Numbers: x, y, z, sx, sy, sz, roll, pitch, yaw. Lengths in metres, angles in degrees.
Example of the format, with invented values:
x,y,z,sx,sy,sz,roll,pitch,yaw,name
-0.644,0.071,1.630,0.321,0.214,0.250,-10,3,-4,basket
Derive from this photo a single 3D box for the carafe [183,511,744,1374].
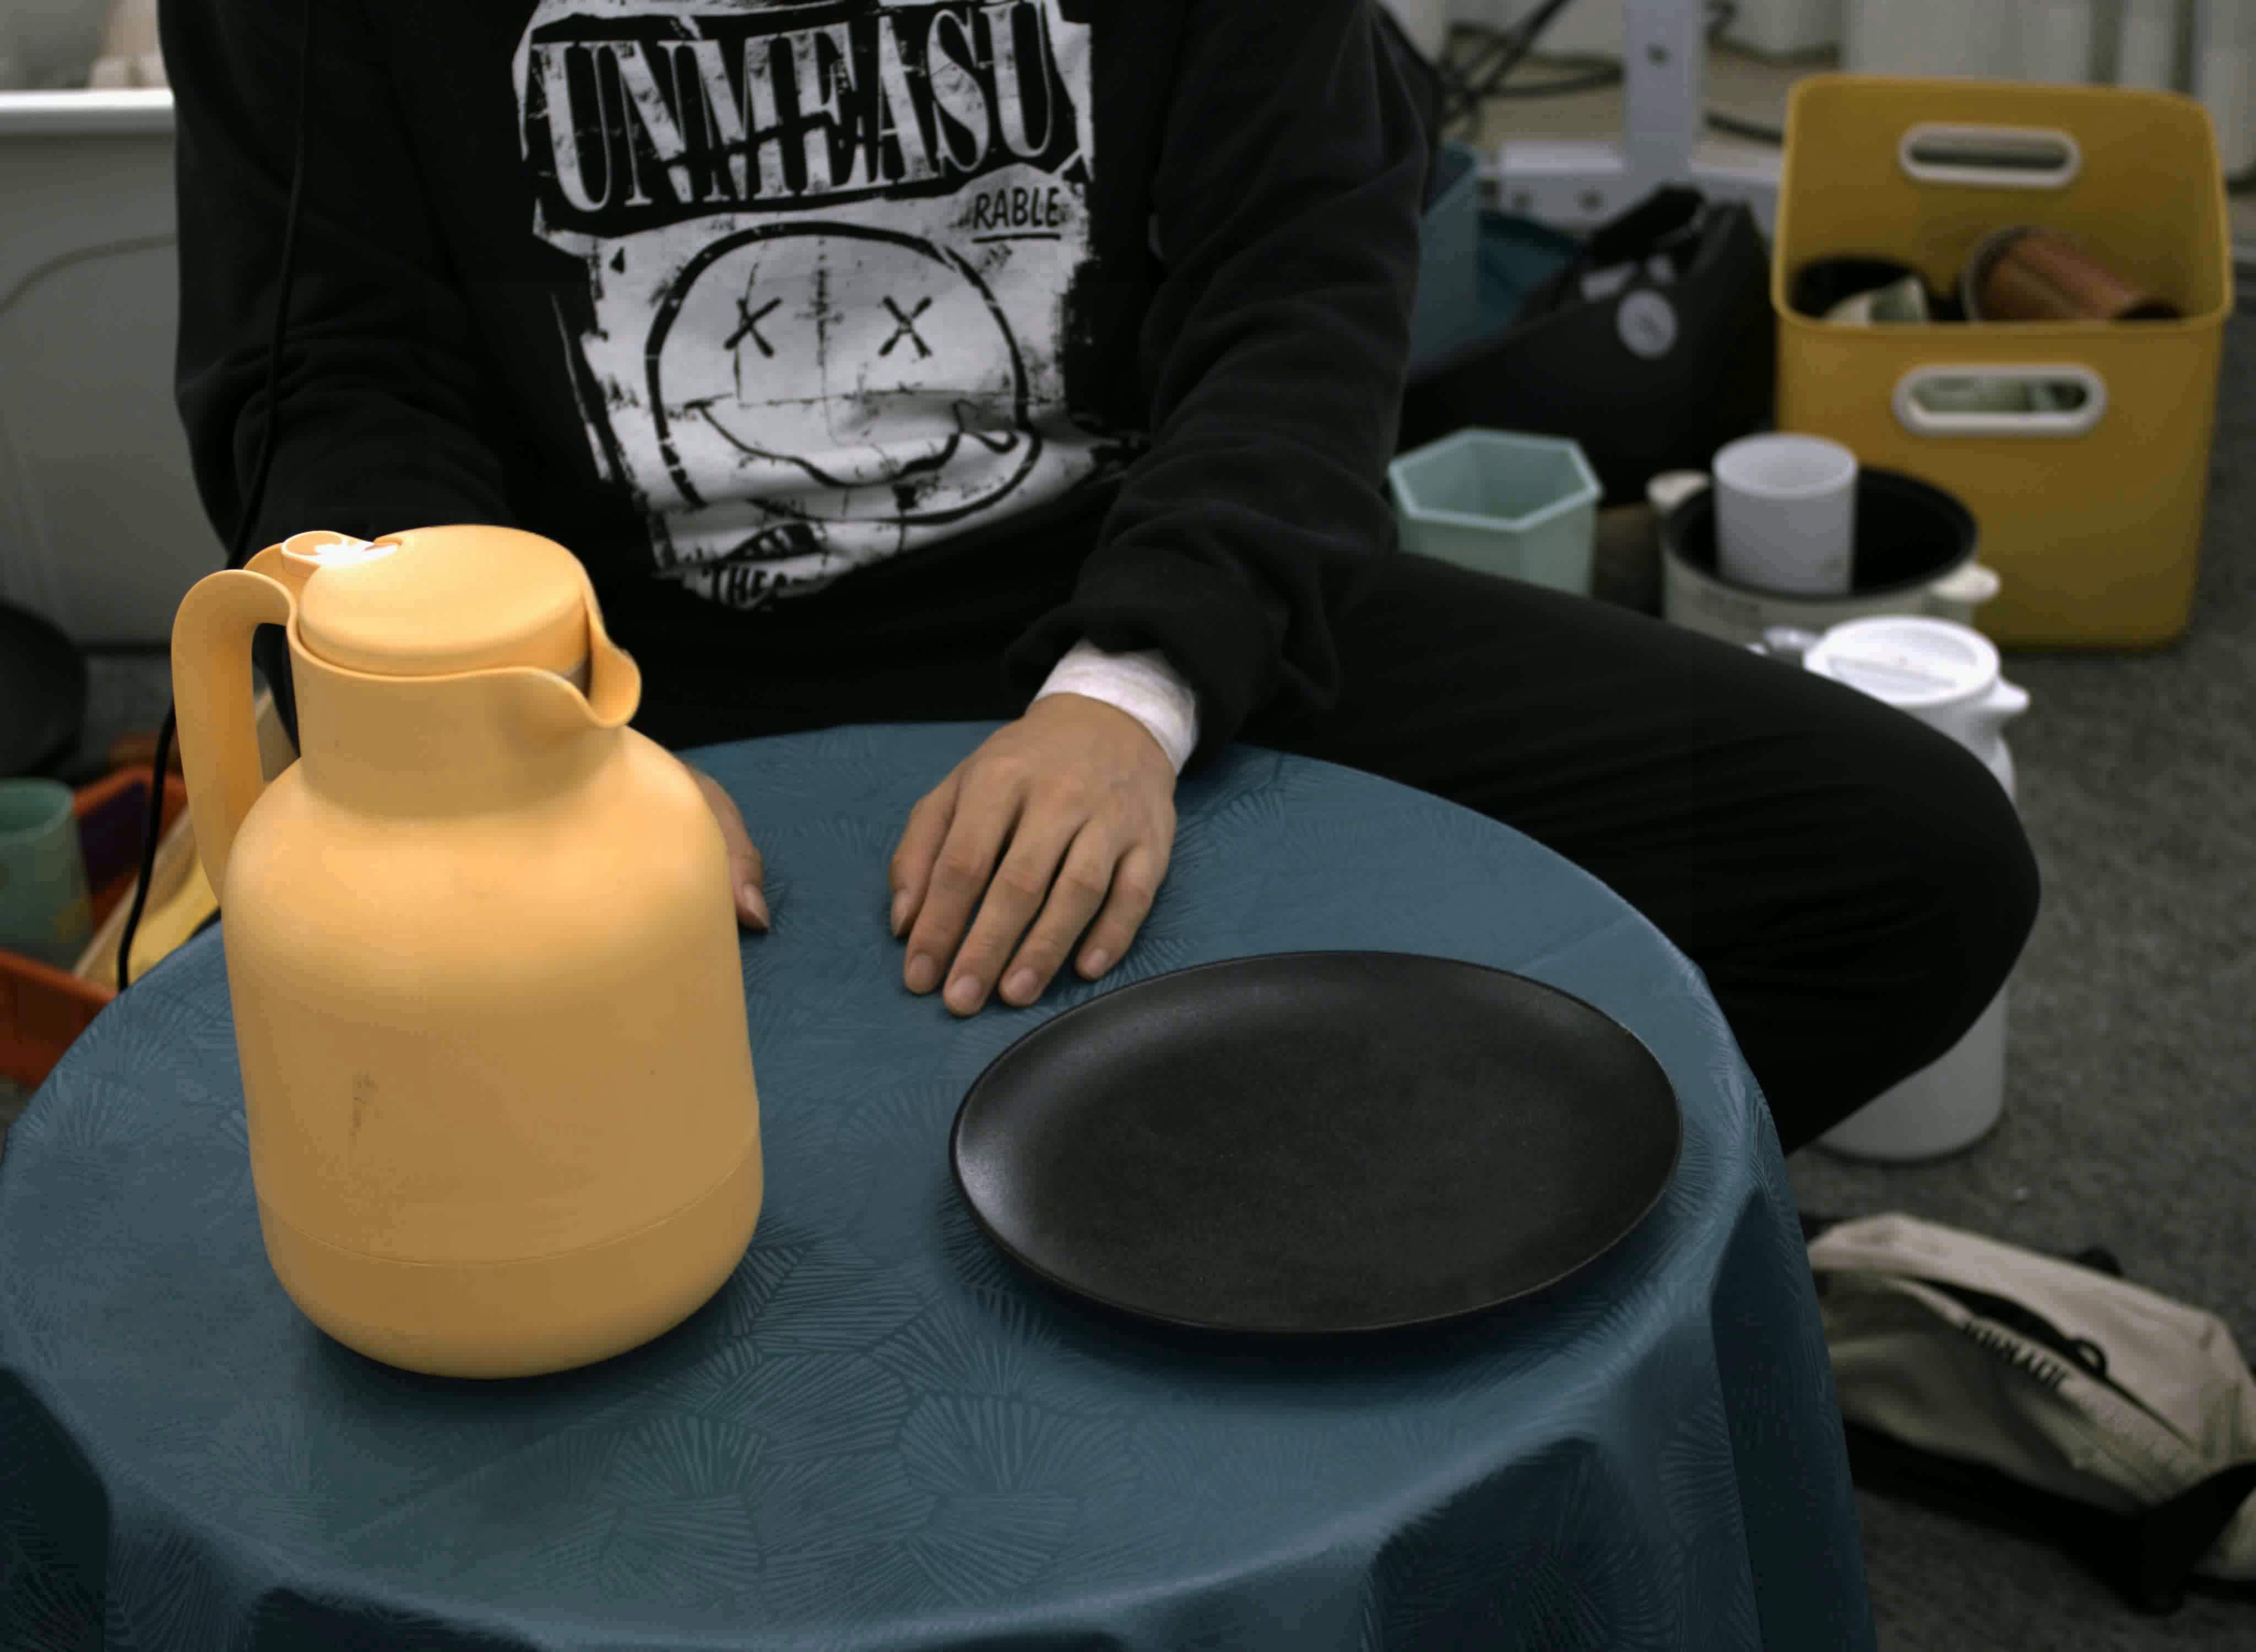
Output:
x,y,z,sx,sy,sz,roll,pitch,yaw,name
-0.218,0.026,1.781,0.202,0.258,0.165,22,33,37,carafe

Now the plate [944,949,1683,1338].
x,y,z,sx,sy,sz,roll,pitch,yaw,name
0.061,0.109,1.851,0.243,0.023,0.248,-2,27,1,plate
